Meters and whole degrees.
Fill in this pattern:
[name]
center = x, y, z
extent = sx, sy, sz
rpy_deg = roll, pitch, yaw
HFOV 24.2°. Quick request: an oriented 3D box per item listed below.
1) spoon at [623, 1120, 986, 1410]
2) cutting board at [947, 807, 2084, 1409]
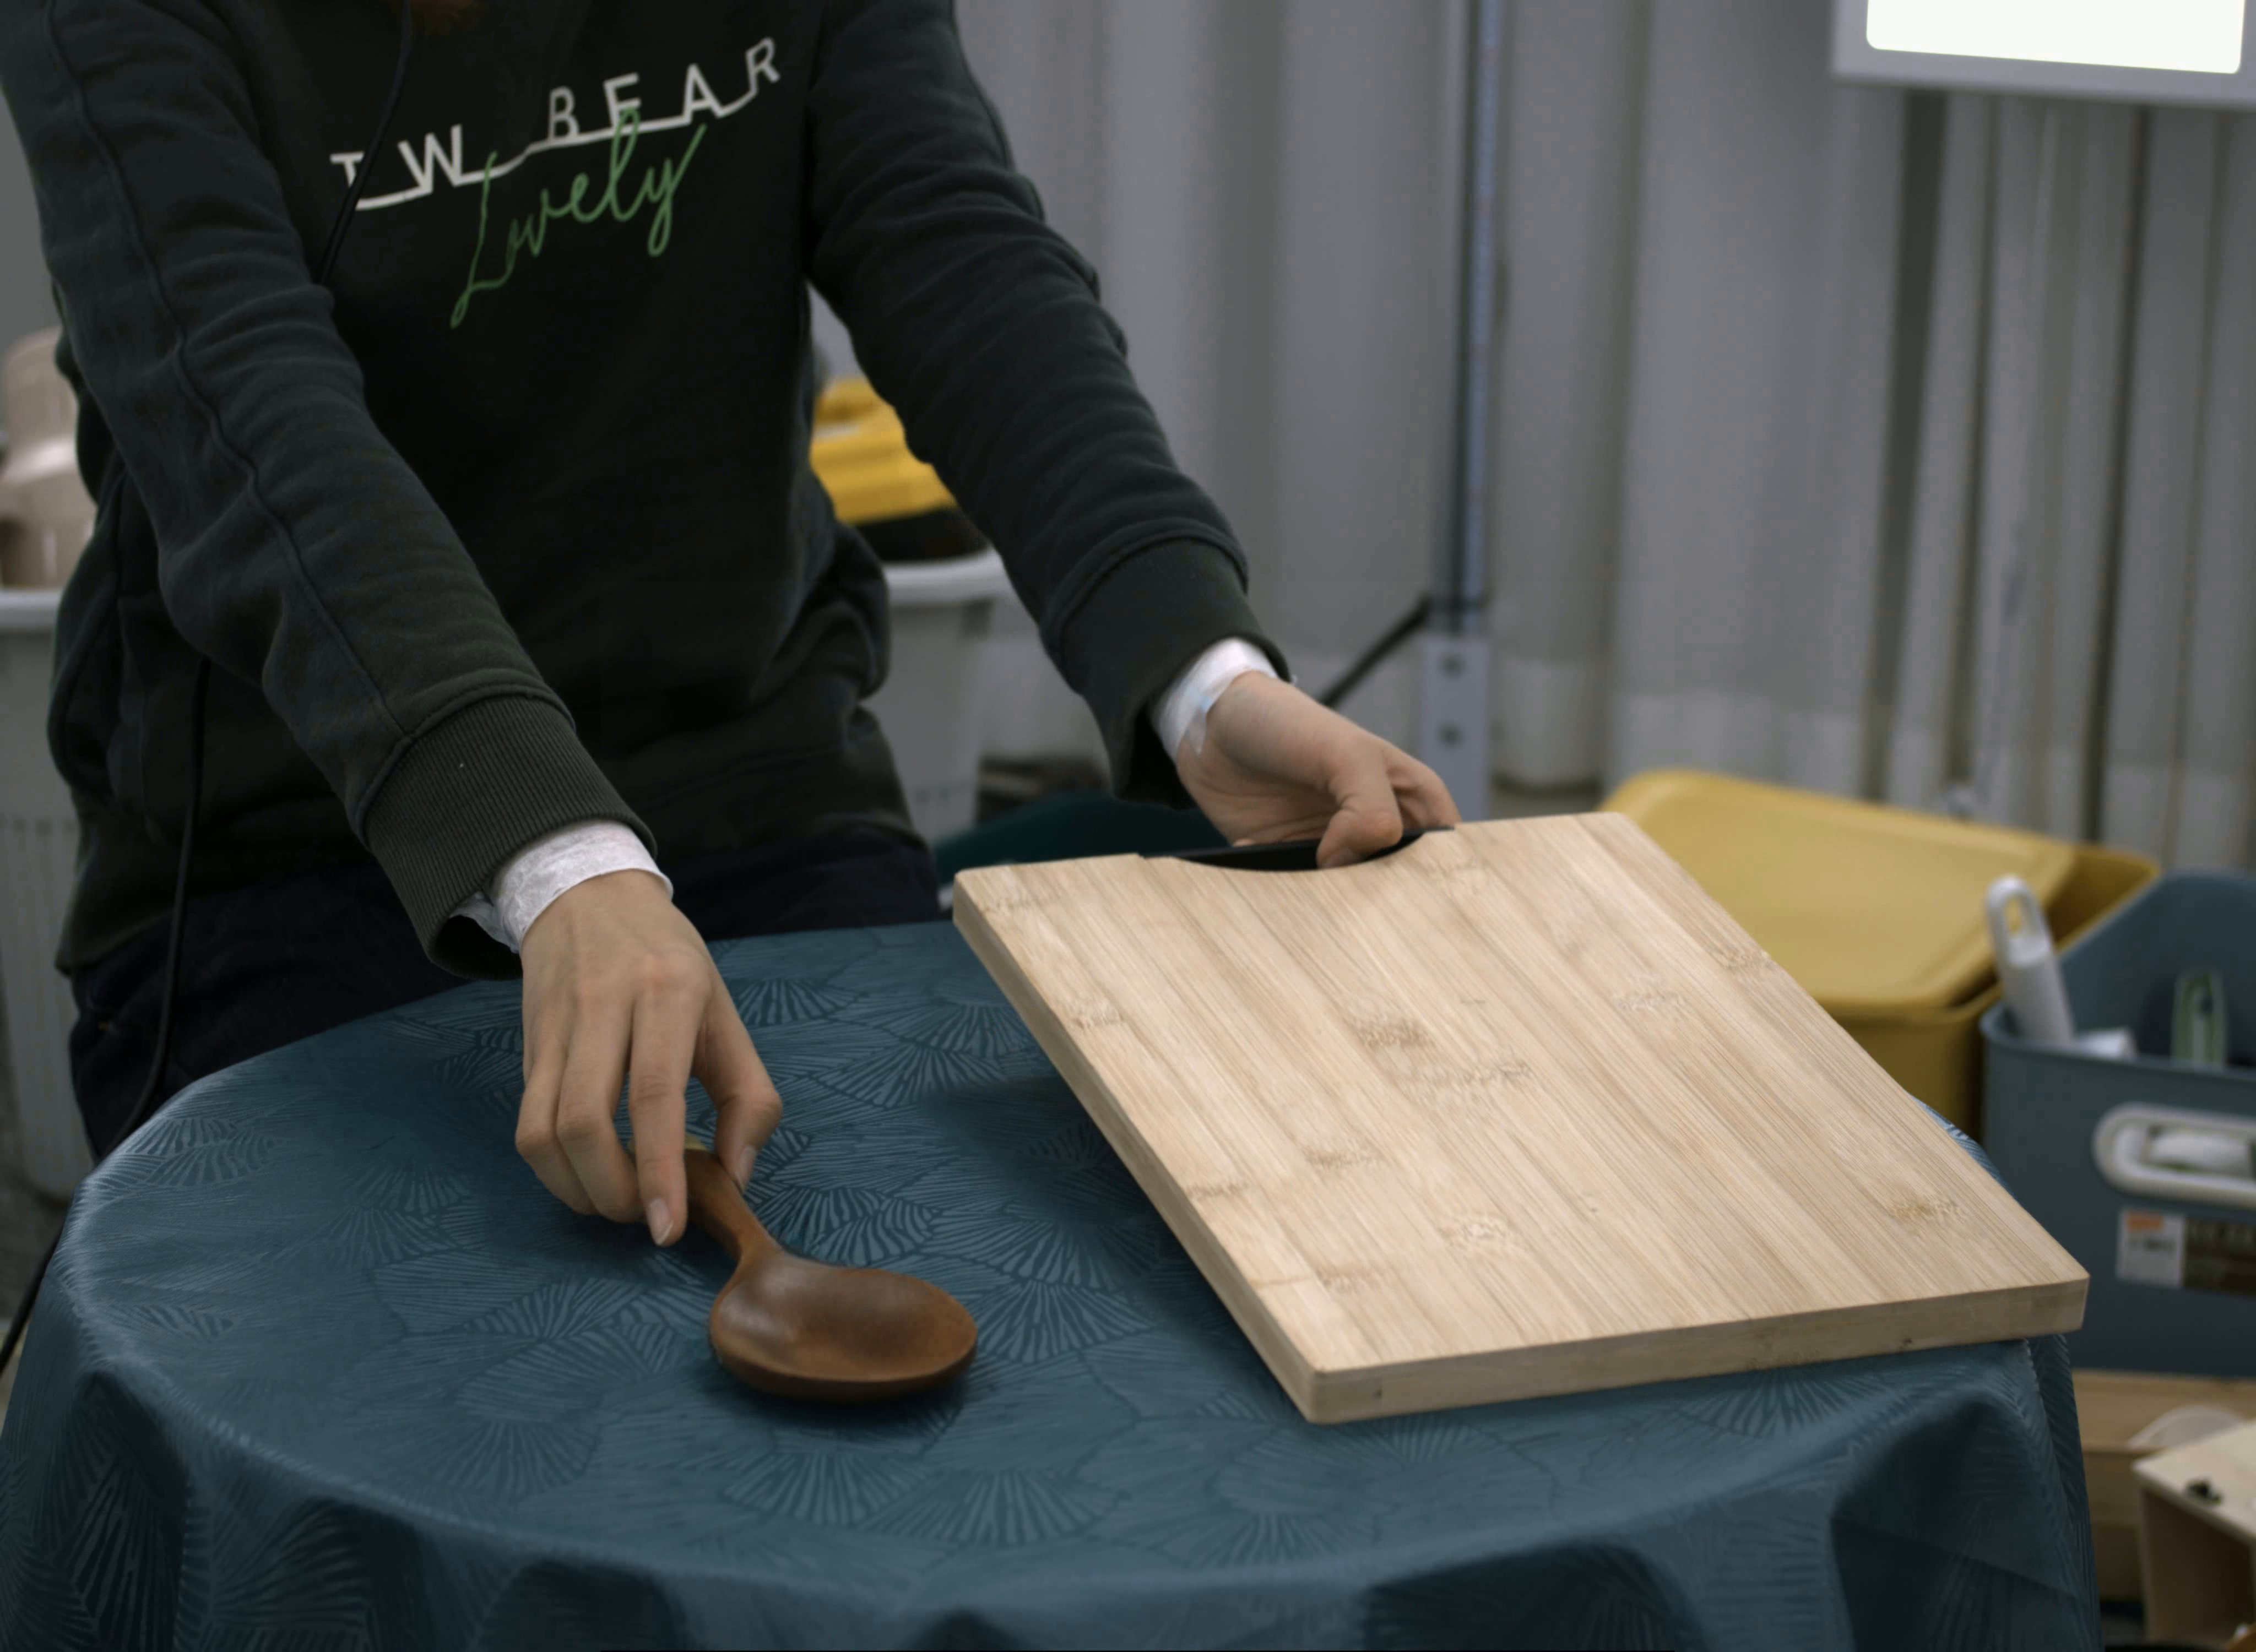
[spoon]
center = -0.104, 0.128, 1.529
extent = 0.076, 0.017, 0.213
rpy_deg = -8, 20, -22
[cutting board]
center = 0.108, 0.079, 1.626
extent = 0.251, 0.024, 0.344
rpy_deg = -5, 25, -20
